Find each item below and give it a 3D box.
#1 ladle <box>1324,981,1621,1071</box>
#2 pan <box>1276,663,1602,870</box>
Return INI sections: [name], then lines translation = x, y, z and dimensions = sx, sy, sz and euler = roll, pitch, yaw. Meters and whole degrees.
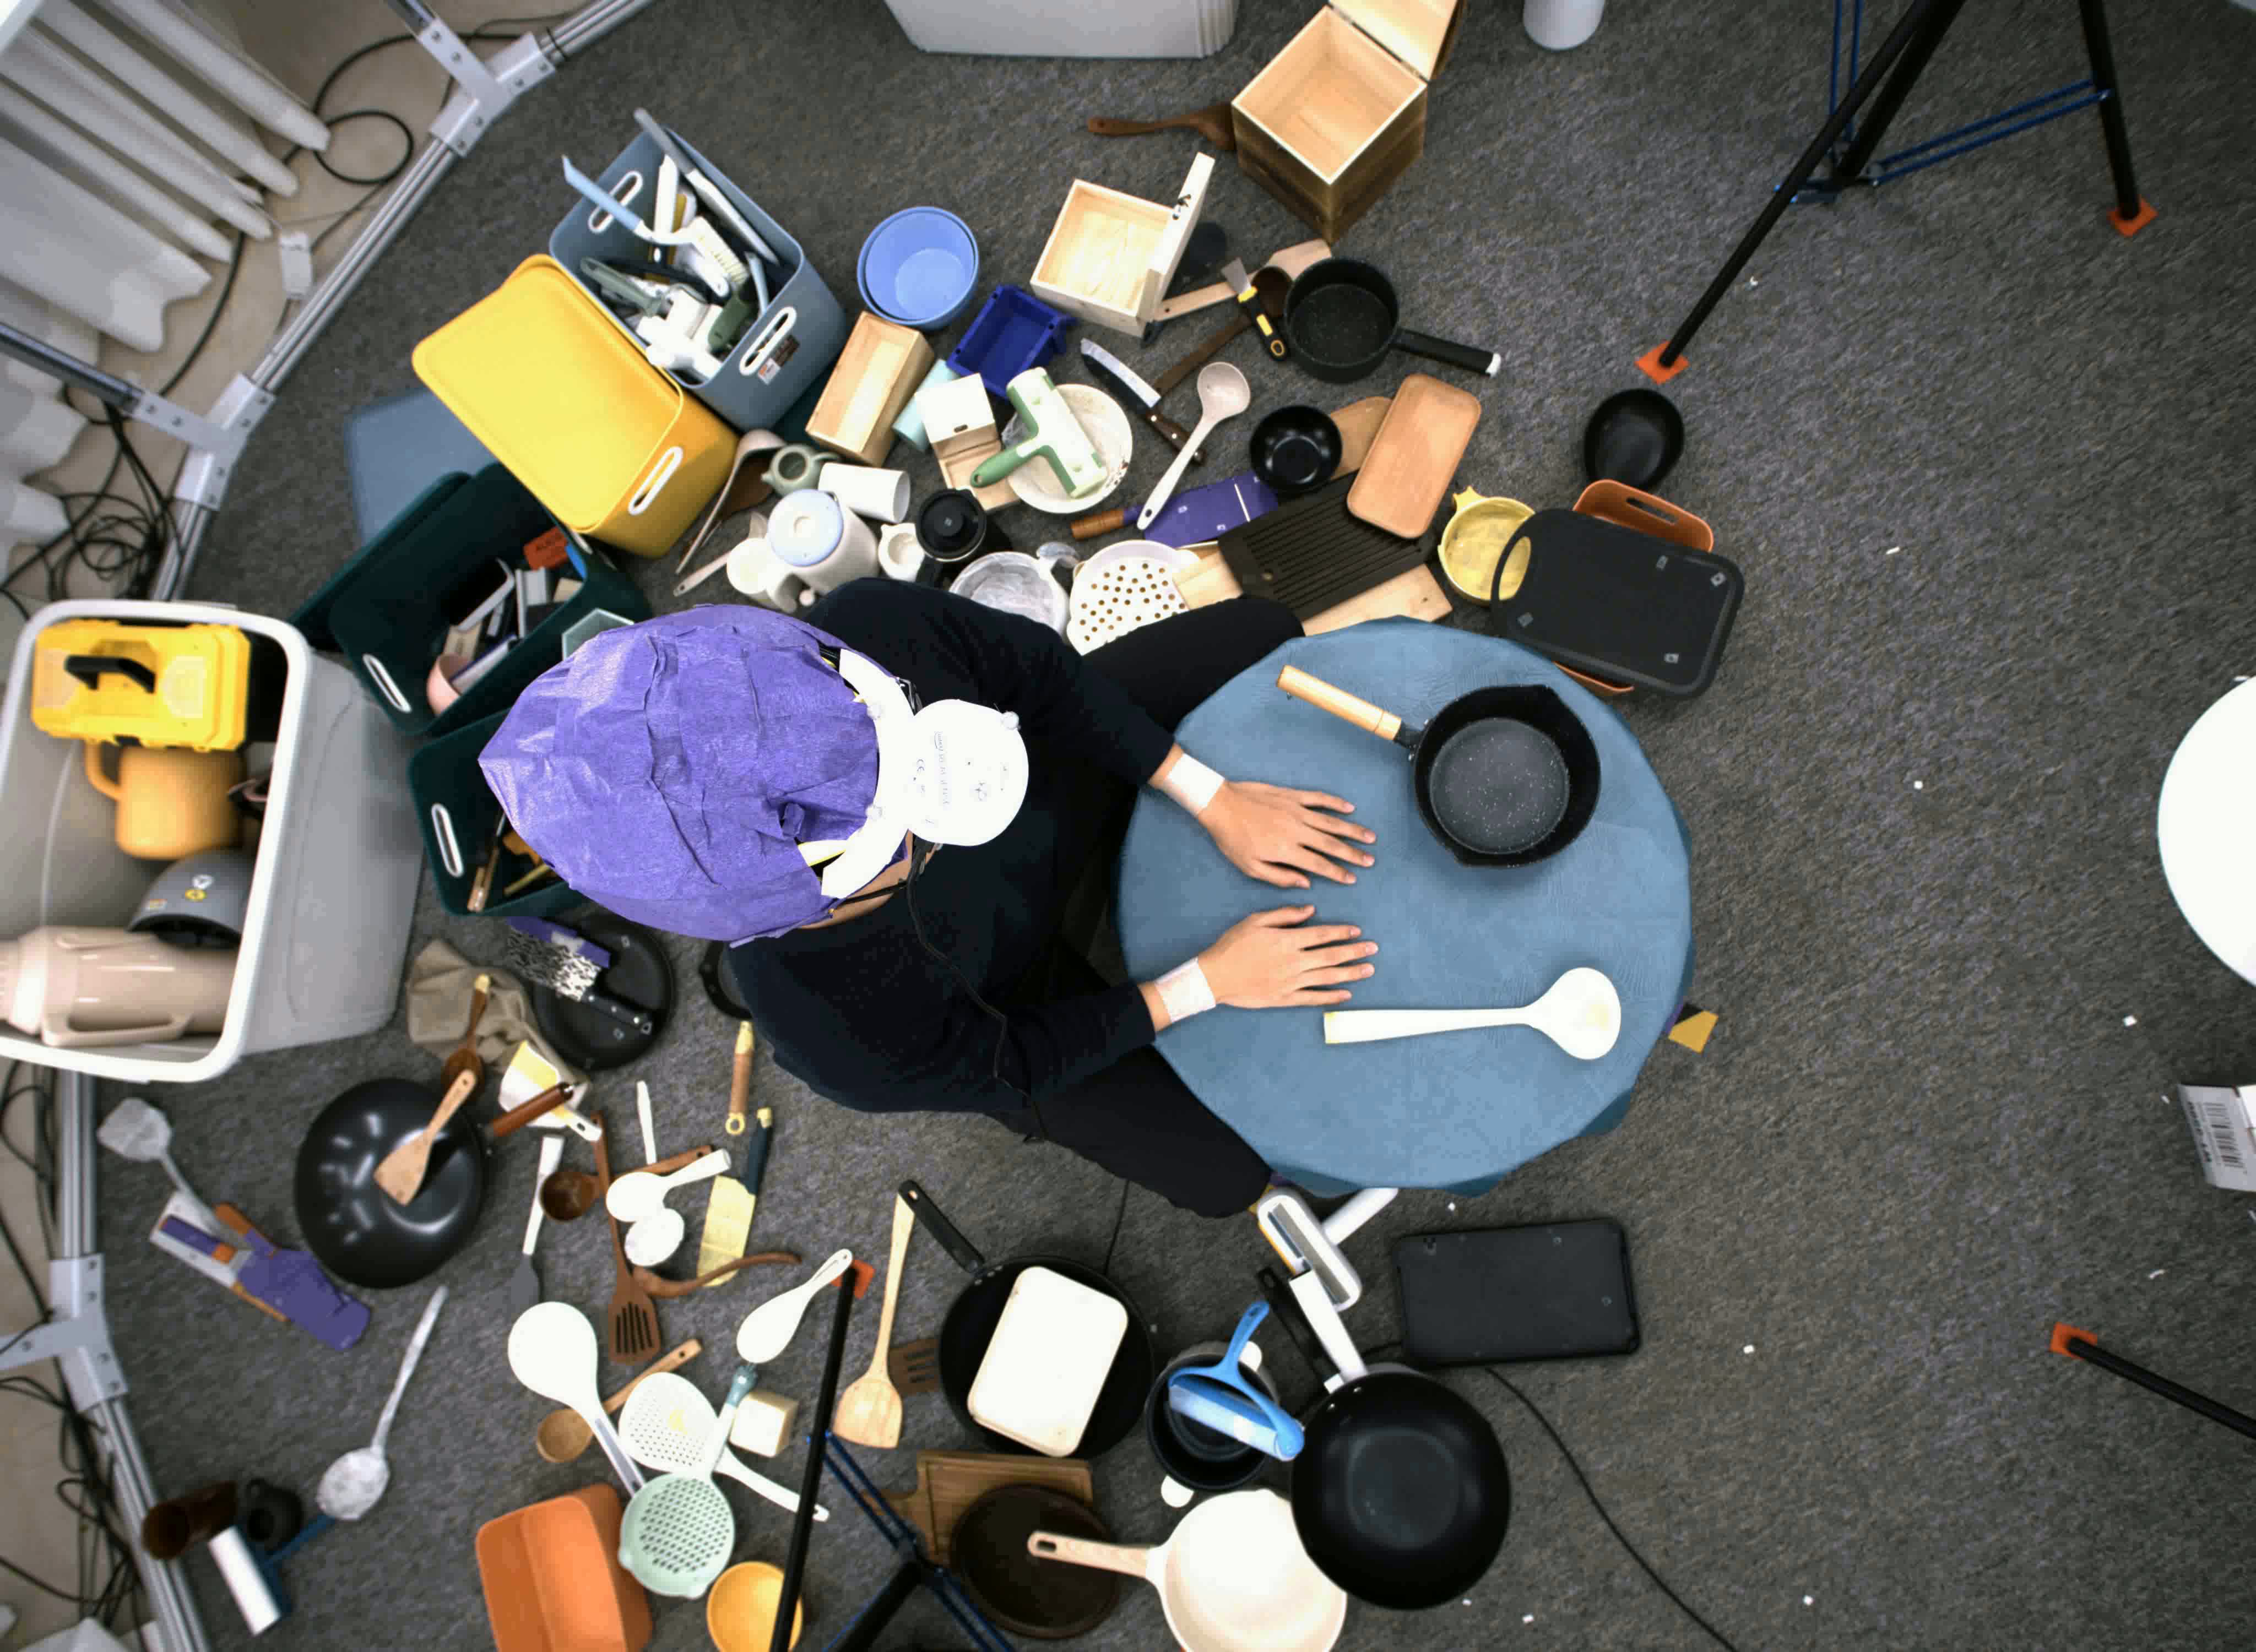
[ladle]
translation = 0.346, 0.203, 1.406
dimensions = 0.294, 0.069, 0.090
euler = -3, 92, 11
[pan]
translation = 0.309, -0.080, 1.406
dimensions = 0.342, 0.108, 0.207
euler = 24, 92, 9
